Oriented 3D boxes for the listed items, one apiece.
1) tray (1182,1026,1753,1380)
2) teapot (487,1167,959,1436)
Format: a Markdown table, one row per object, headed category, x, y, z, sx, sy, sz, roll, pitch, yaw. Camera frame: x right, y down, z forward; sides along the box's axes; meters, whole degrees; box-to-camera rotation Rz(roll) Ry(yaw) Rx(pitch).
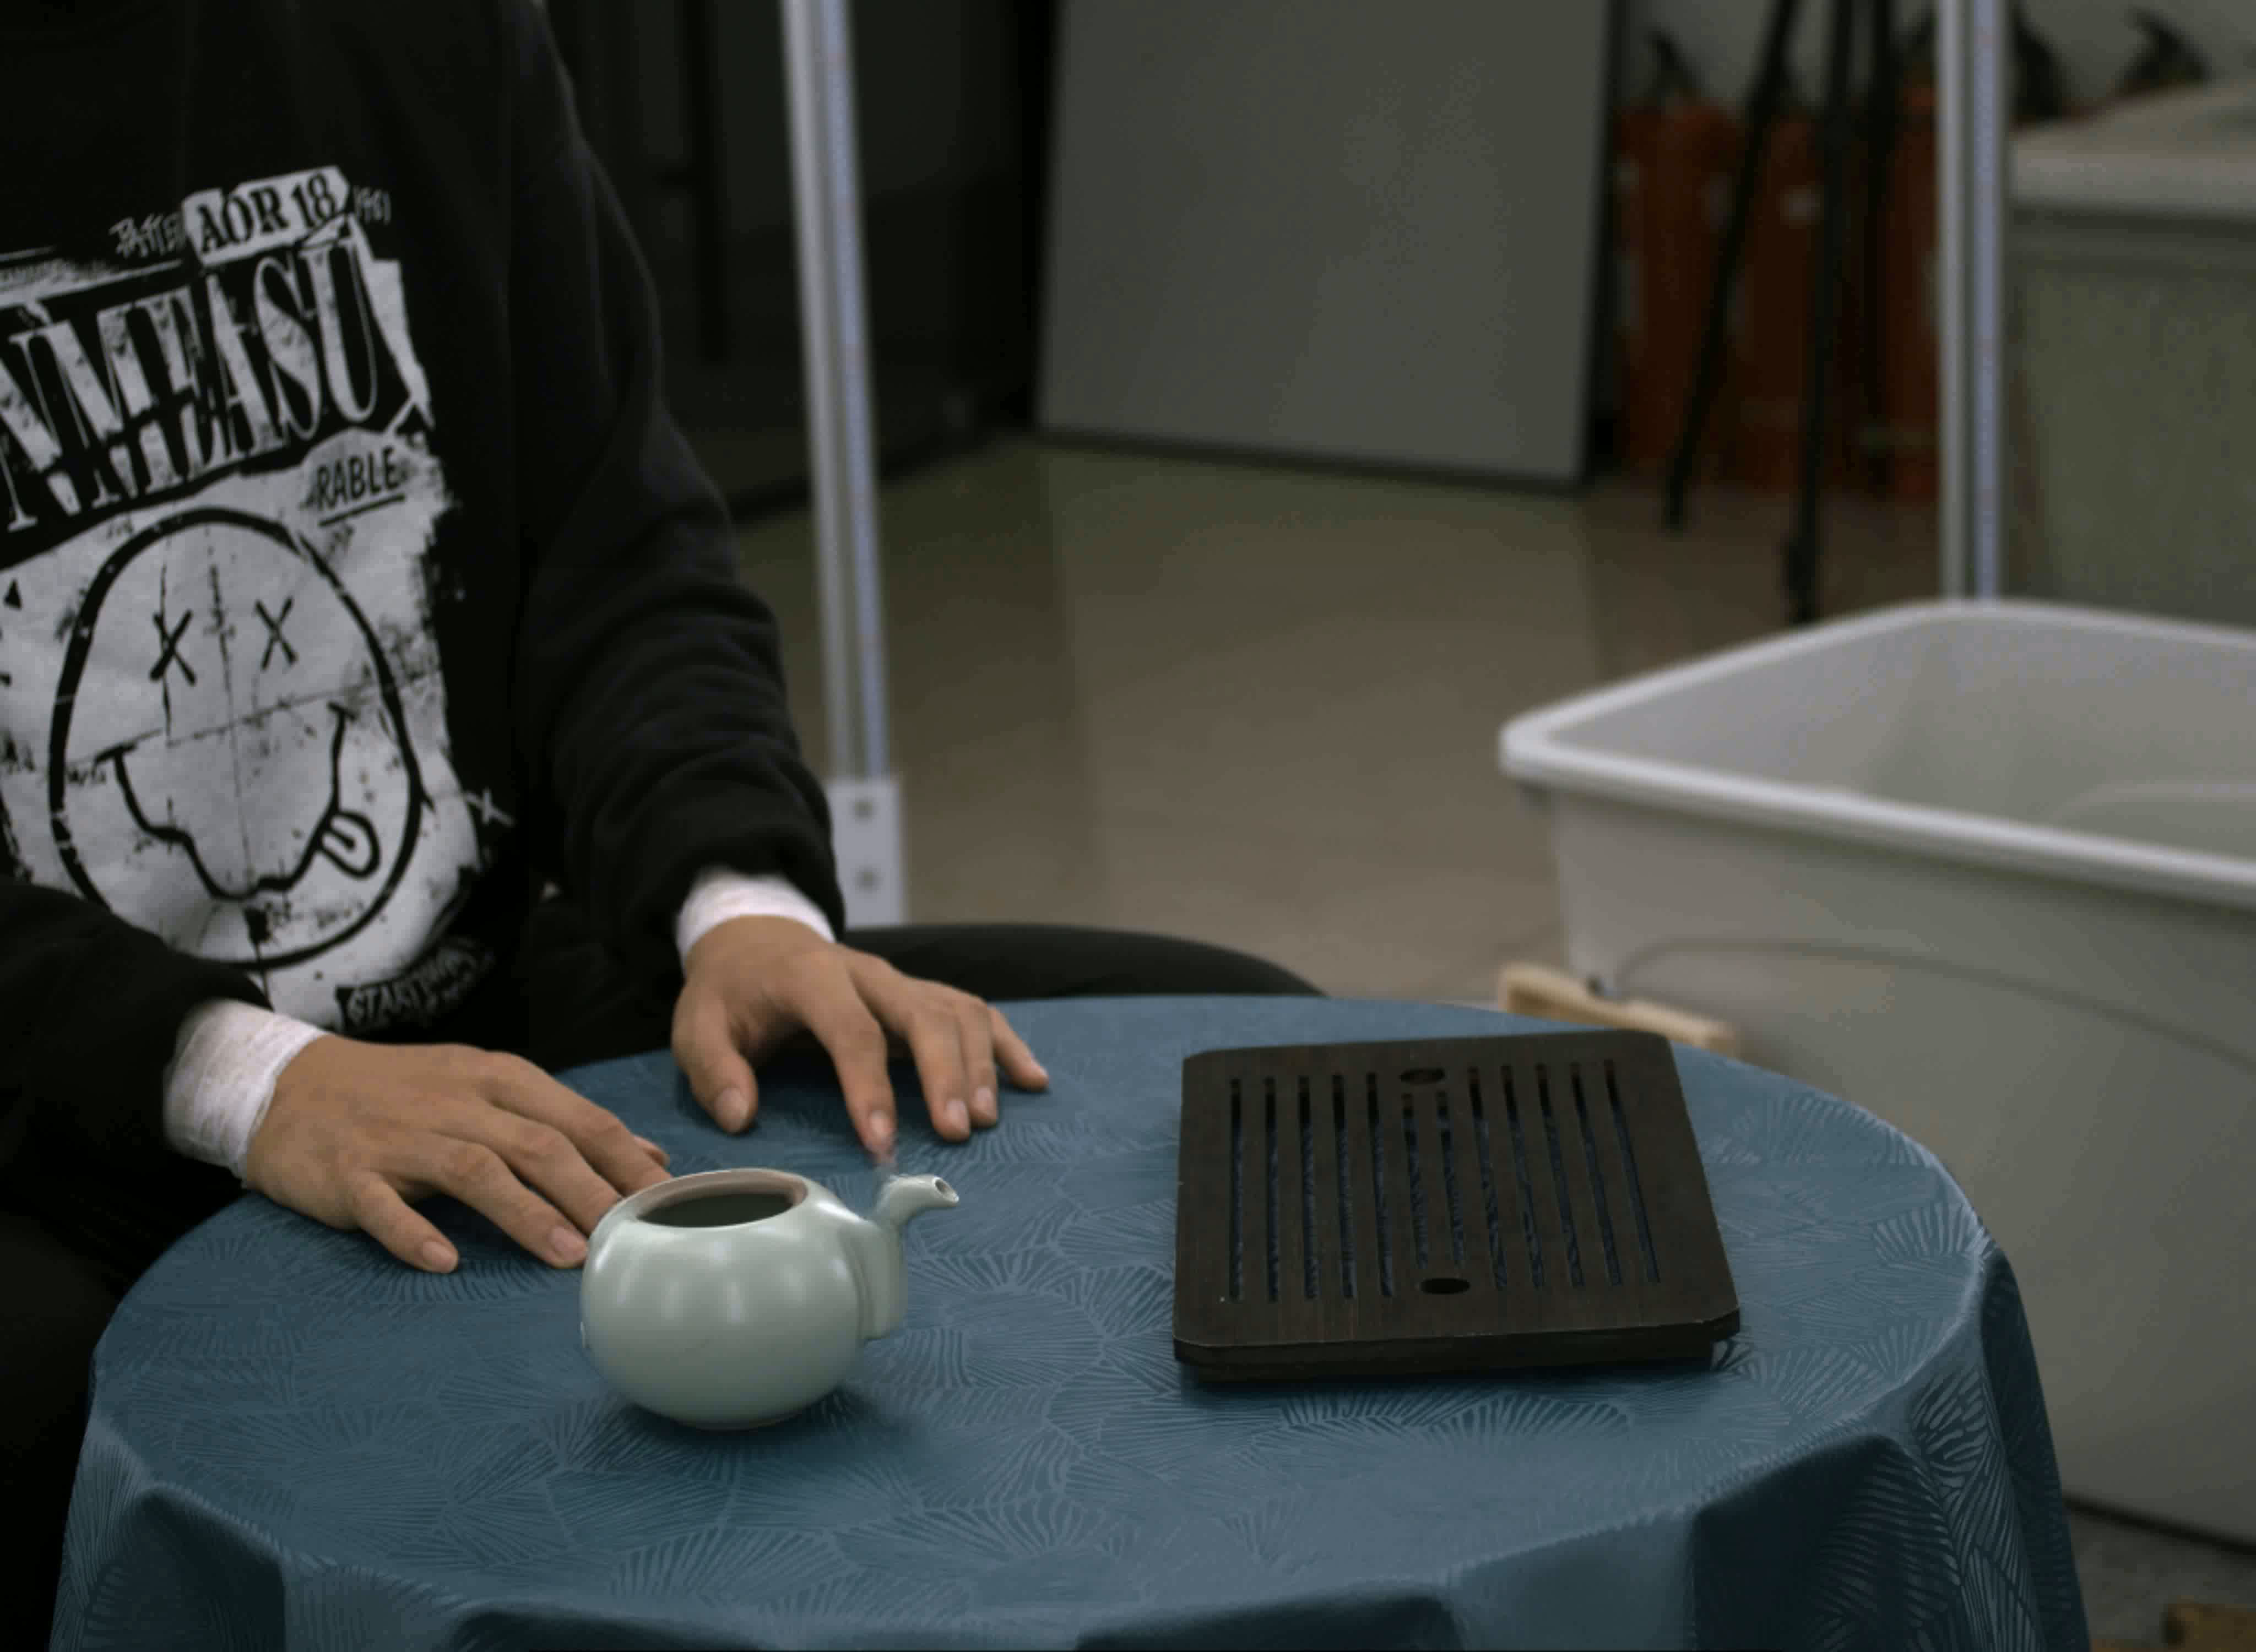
| category | x | y | z | sx | sy | sz | roll | pitch | yaw |
| --- | --- | --- | --- | --- | --- | --- | --- | --- | --- |
| tray | 0.104 | 0.118 | 1.718 | 0.168 | 0.019 | 0.306 | -4 | 14 | 3 |
| teapot | -0.118 | 0.138 | 1.591 | 0.143 | 0.075 | 0.088 | 1 | 14 | 12 |
